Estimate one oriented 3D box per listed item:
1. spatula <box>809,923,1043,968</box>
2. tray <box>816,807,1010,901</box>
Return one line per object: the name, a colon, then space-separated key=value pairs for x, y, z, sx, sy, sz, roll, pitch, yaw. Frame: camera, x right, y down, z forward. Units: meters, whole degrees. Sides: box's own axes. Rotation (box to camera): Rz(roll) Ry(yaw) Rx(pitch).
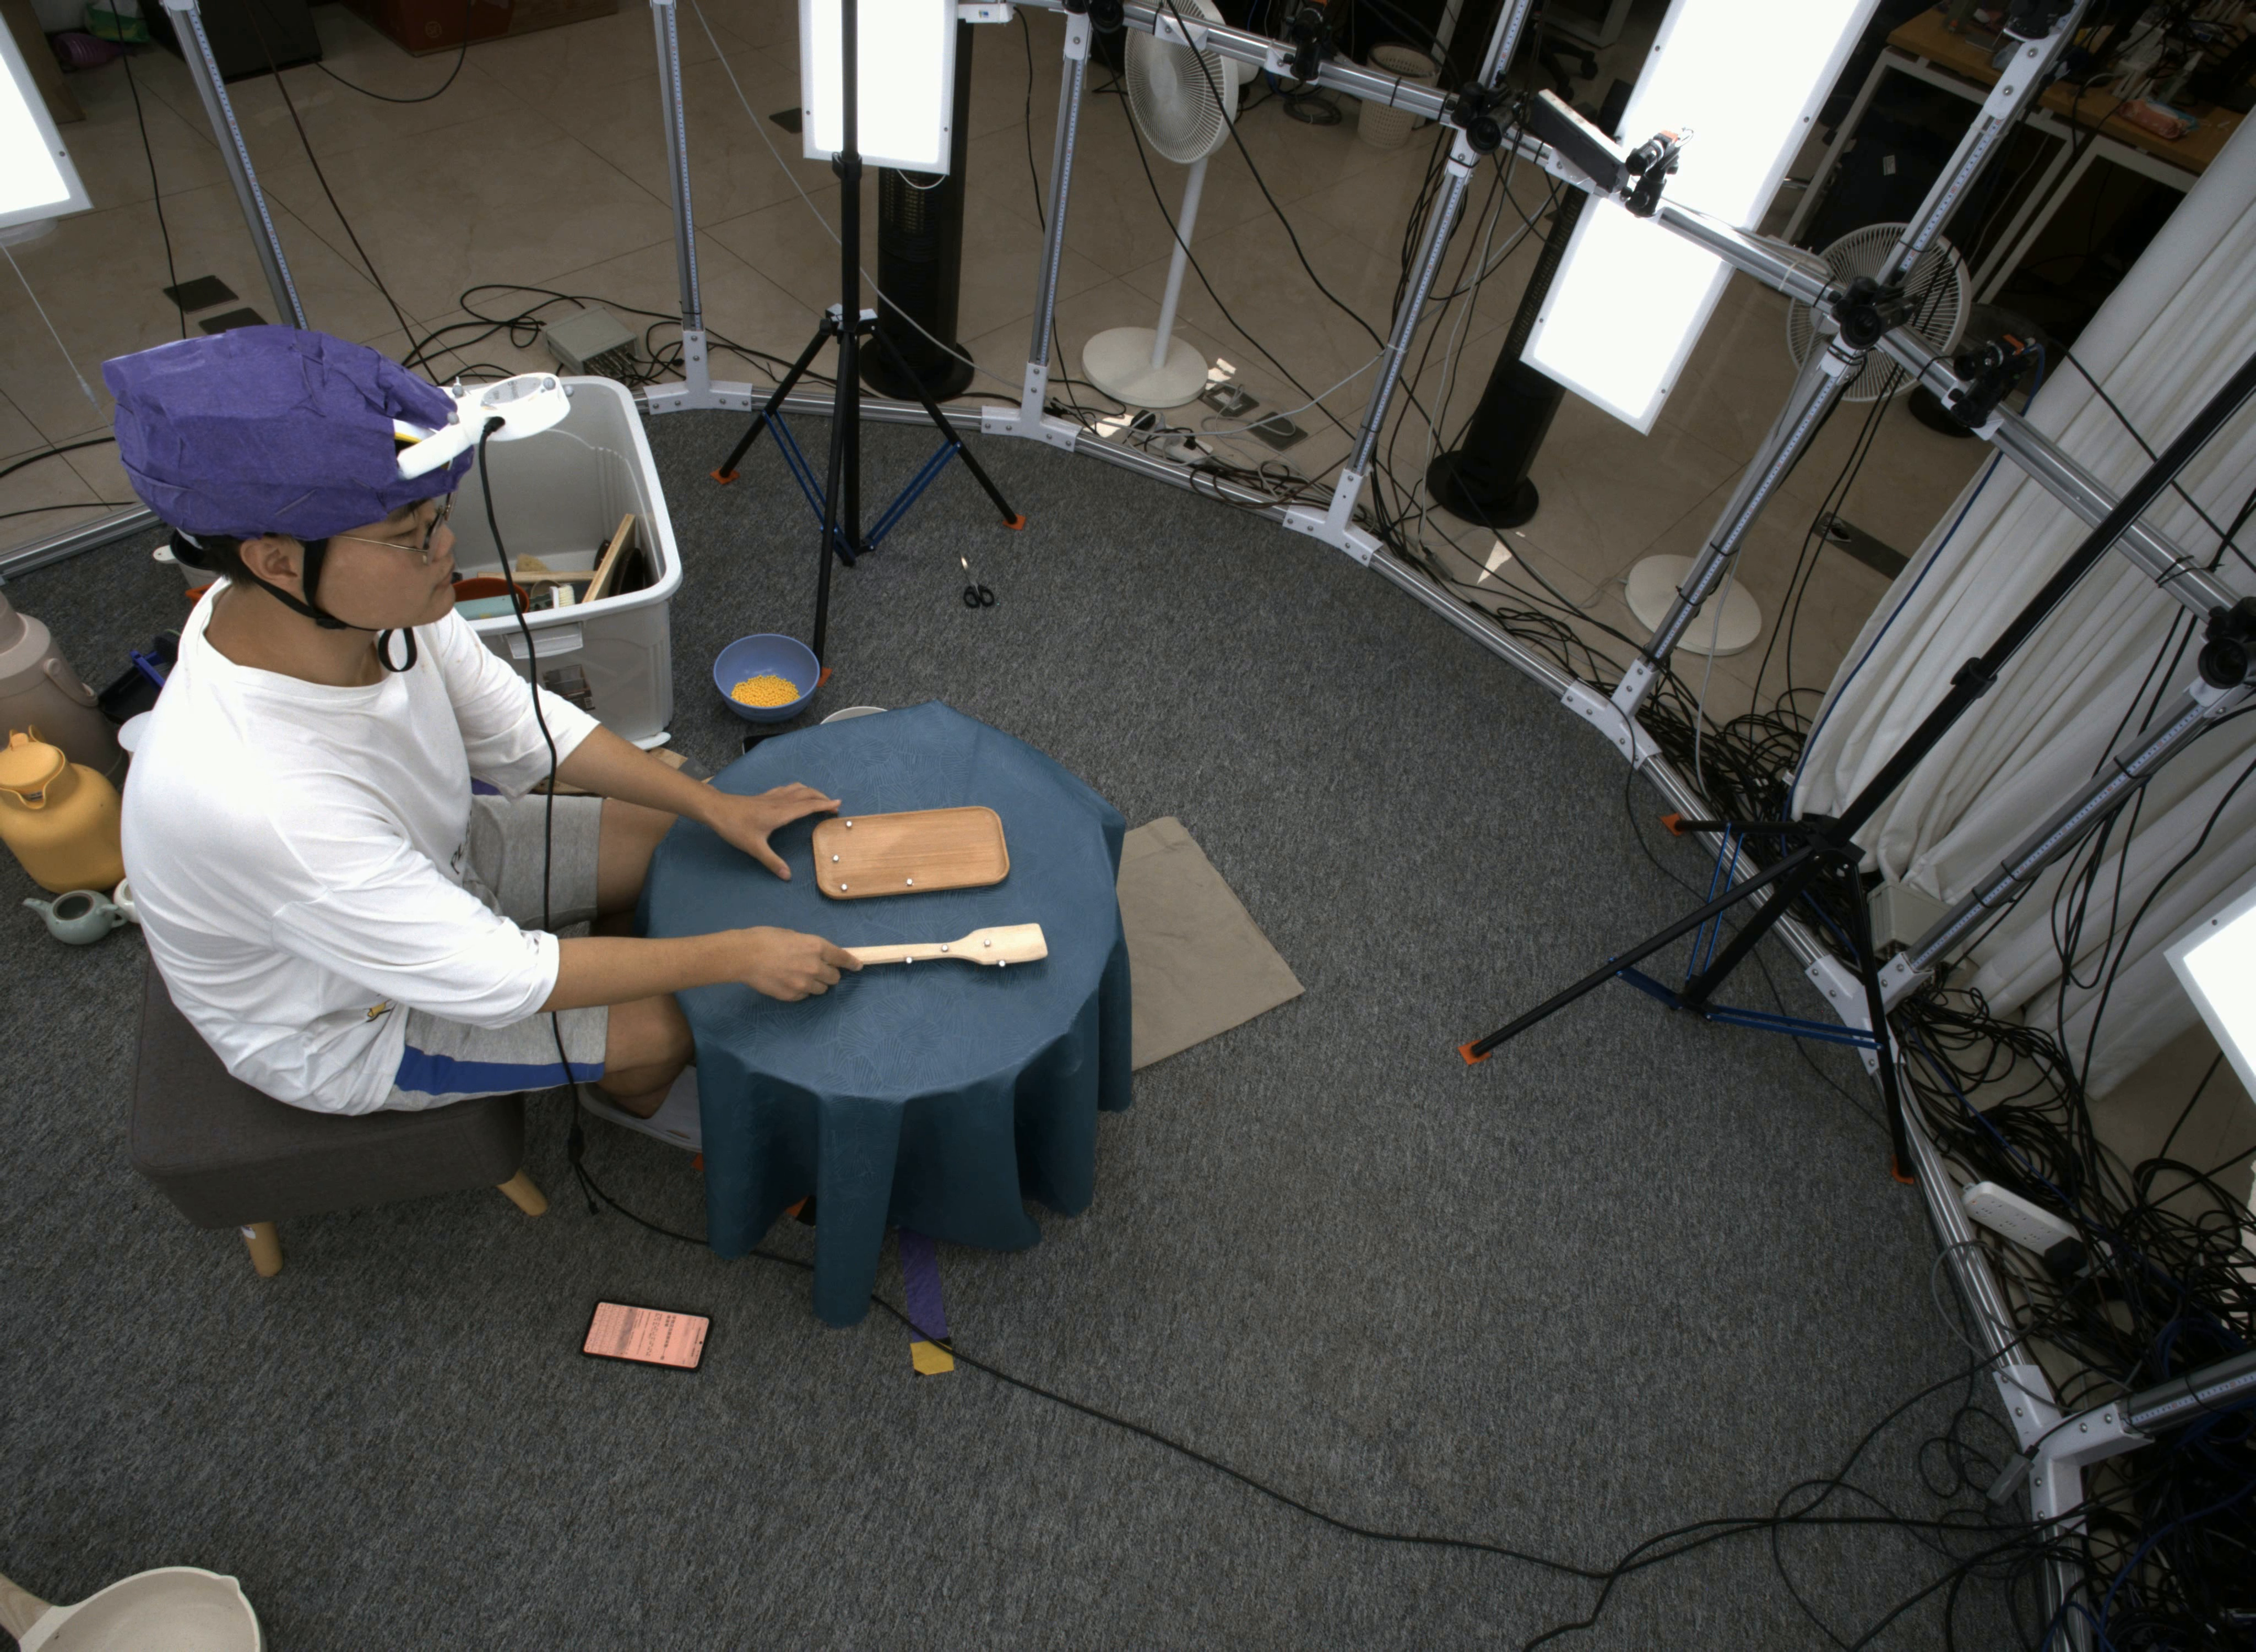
spatula: x=-0.253 y=0.156 z=1.640 sx=0.294 sy=0.011 sz=0.070 roll=-3 pitch=37 yaw=-17
tray: x=-0.285 y=0.036 z=1.731 sx=0.251 sy=0.023 sz=0.128 roll=-4 pitch=58 yaw=-16
